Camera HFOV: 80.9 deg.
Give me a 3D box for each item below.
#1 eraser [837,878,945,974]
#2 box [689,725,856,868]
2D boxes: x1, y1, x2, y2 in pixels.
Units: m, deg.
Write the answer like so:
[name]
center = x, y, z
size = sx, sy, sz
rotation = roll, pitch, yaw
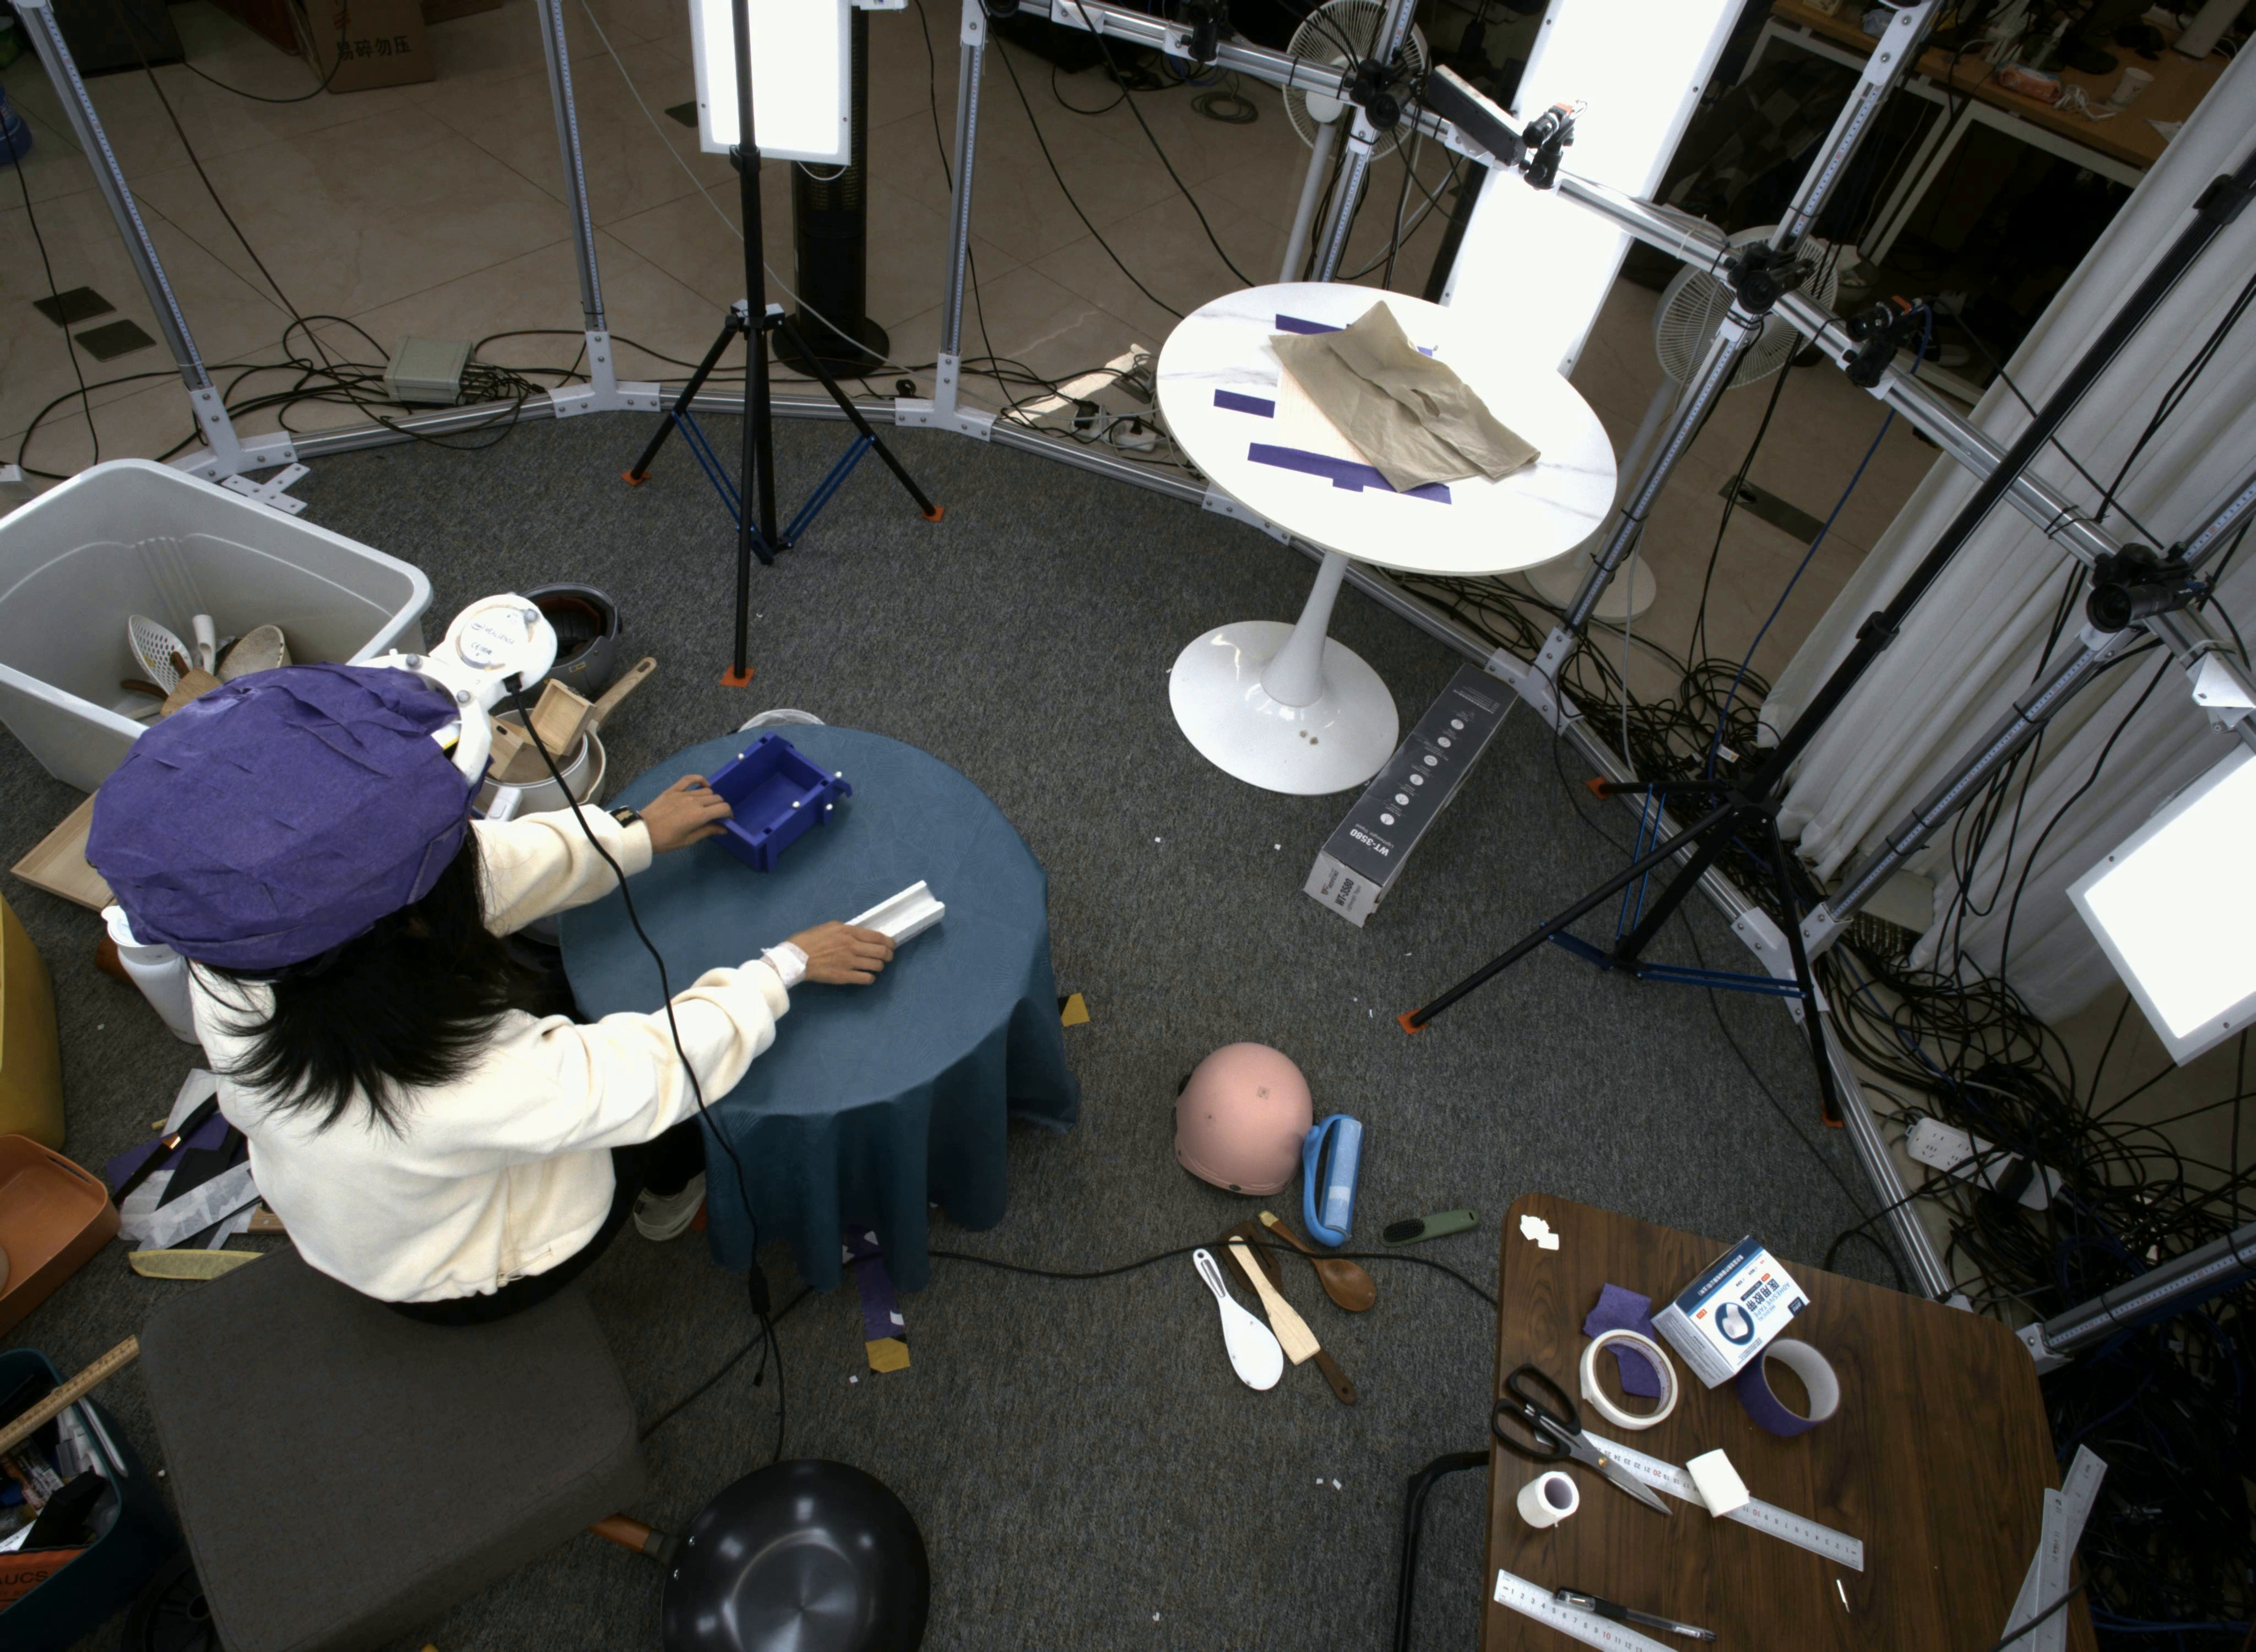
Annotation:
[eraser]
center = -0.297, 0.123, 1.630
size = 0.135, 0.047, 0.049
rotation = -33, 70, -34
[box]
center = -0.462, -0.044, 1.689
size = 0.122, 0.083, 0.179
rotation = 35, 55, 13
